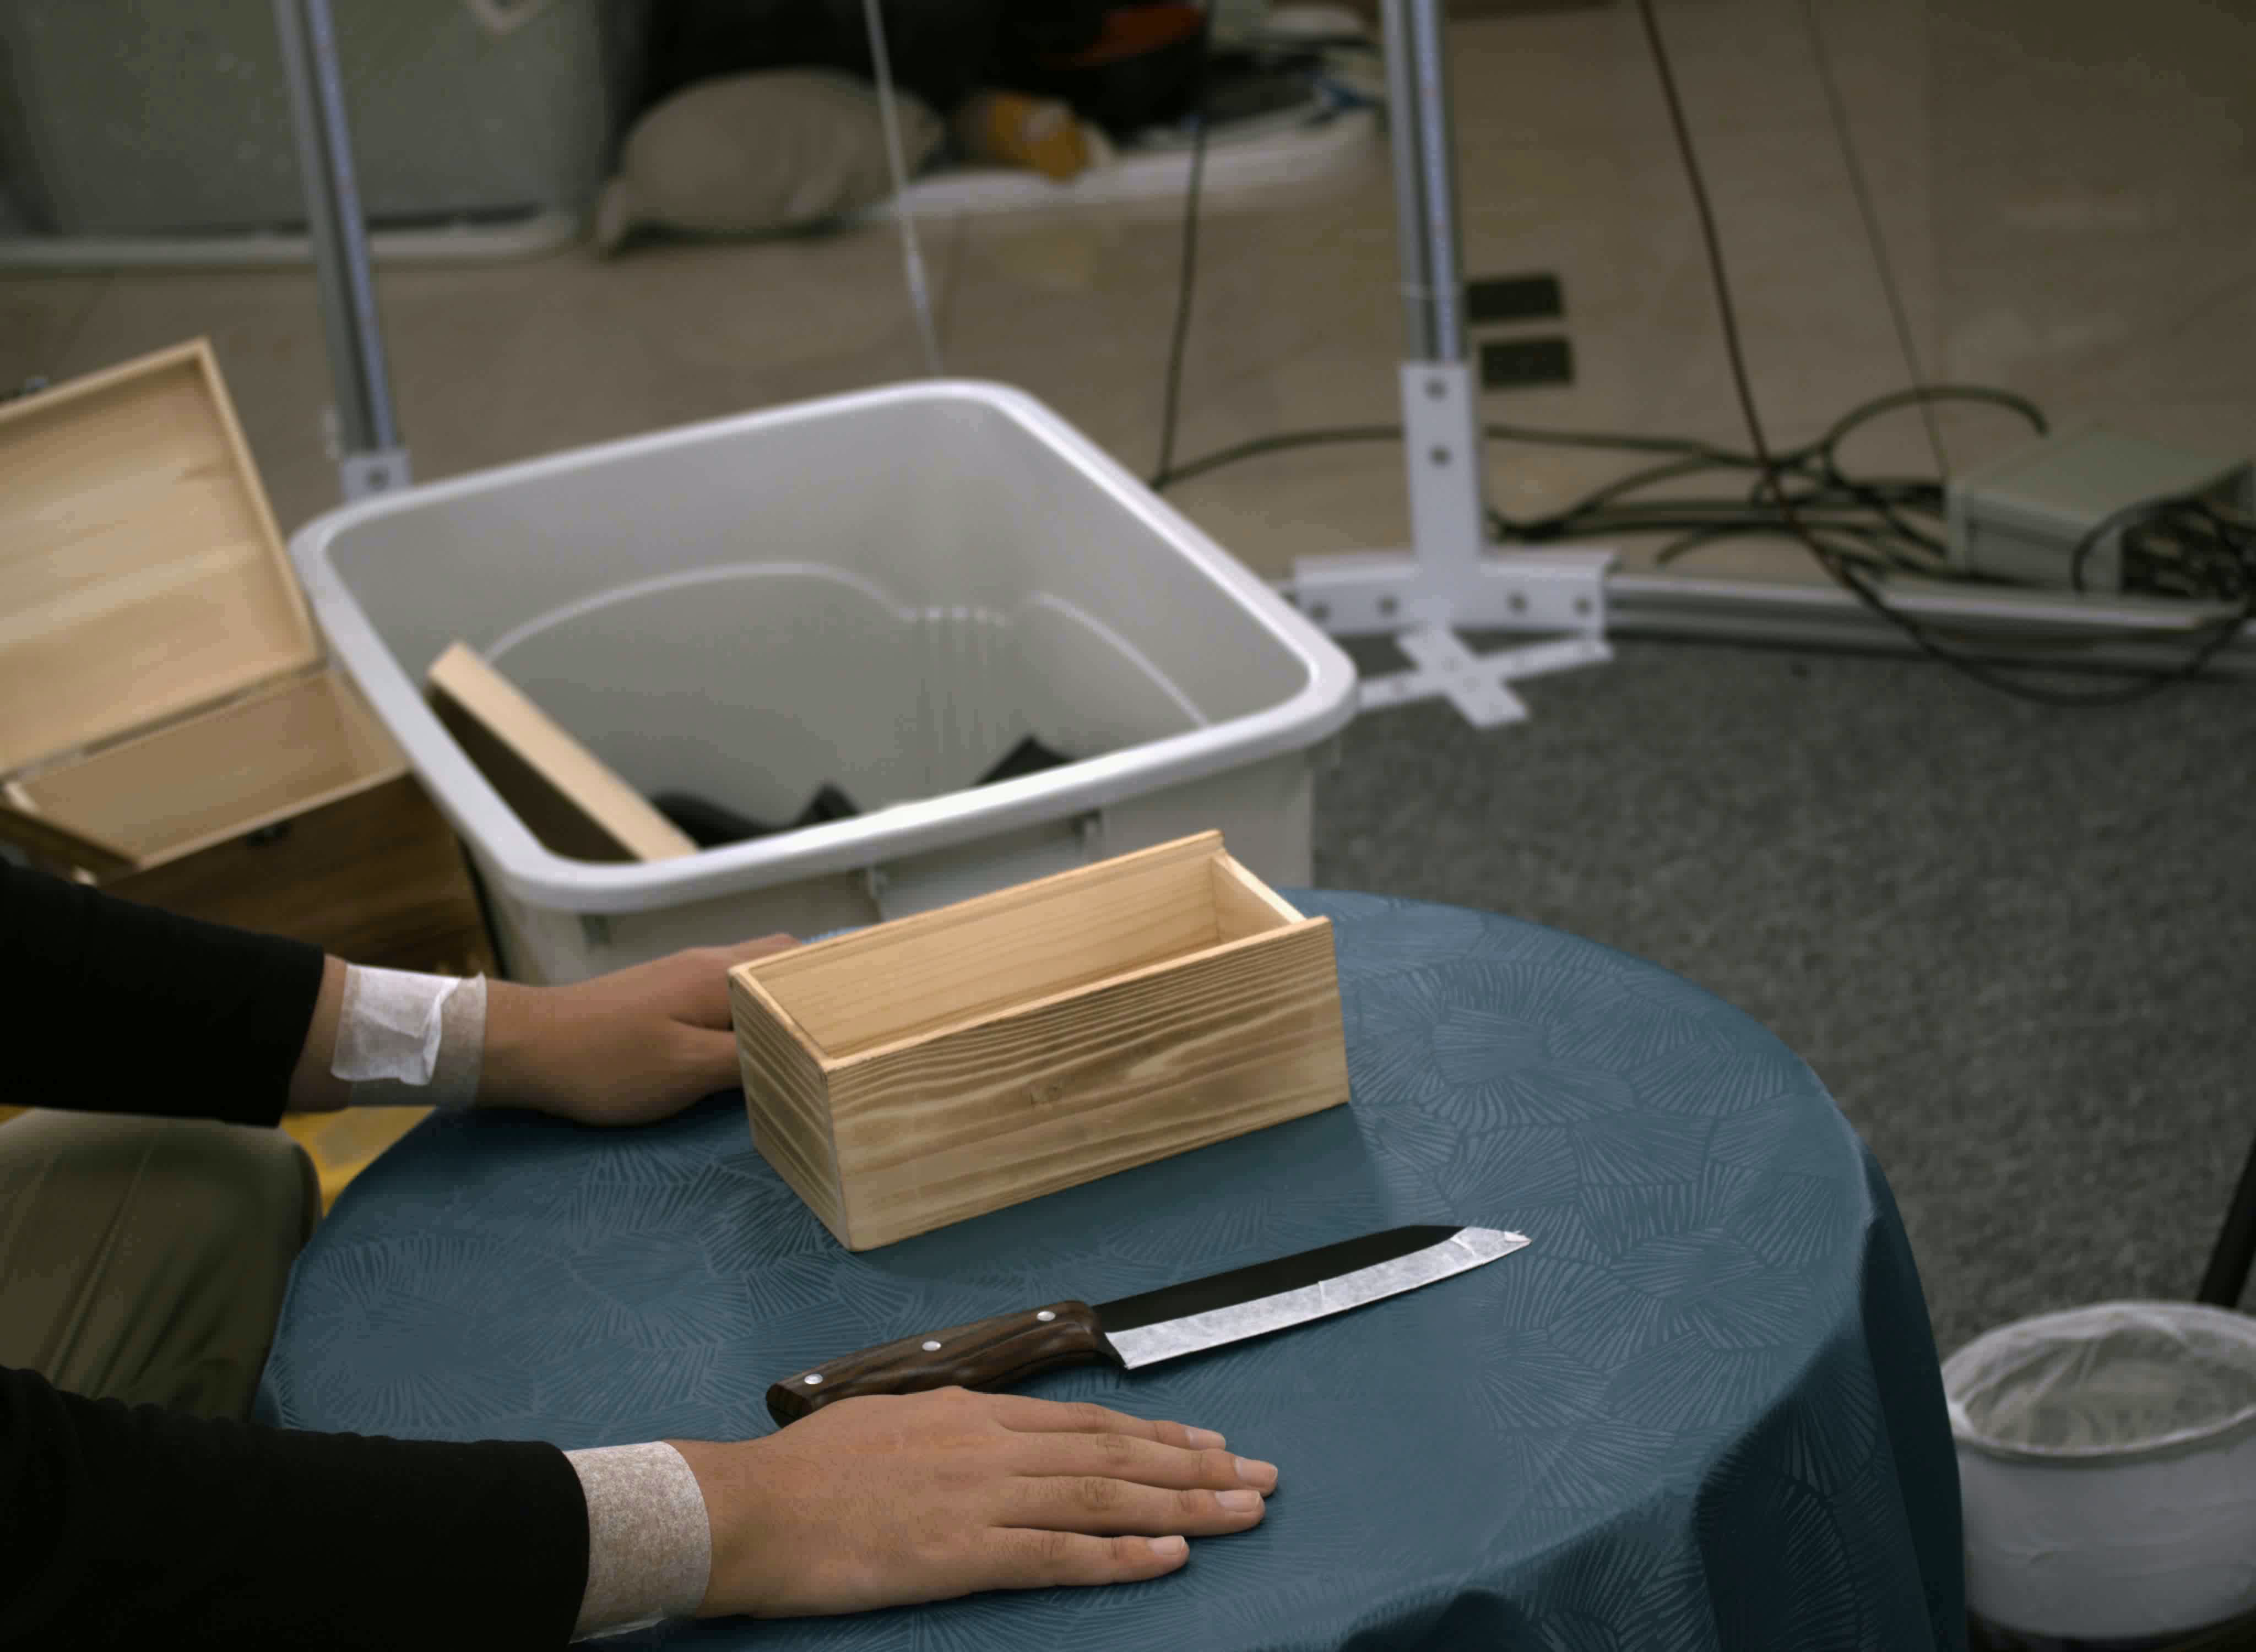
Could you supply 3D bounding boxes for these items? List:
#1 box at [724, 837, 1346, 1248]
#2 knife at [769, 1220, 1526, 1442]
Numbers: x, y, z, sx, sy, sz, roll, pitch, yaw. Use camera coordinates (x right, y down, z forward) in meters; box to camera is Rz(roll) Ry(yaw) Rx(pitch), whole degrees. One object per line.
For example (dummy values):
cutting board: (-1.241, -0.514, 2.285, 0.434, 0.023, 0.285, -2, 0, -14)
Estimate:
box: (-0.035, 0.081, 2.186, 0.210, 0.081, 0.106, -15, 26, -20)
knife: (0.010, 0.179, 2.043, 0.288, 0.020, 0.049, -12, 30, -17)
